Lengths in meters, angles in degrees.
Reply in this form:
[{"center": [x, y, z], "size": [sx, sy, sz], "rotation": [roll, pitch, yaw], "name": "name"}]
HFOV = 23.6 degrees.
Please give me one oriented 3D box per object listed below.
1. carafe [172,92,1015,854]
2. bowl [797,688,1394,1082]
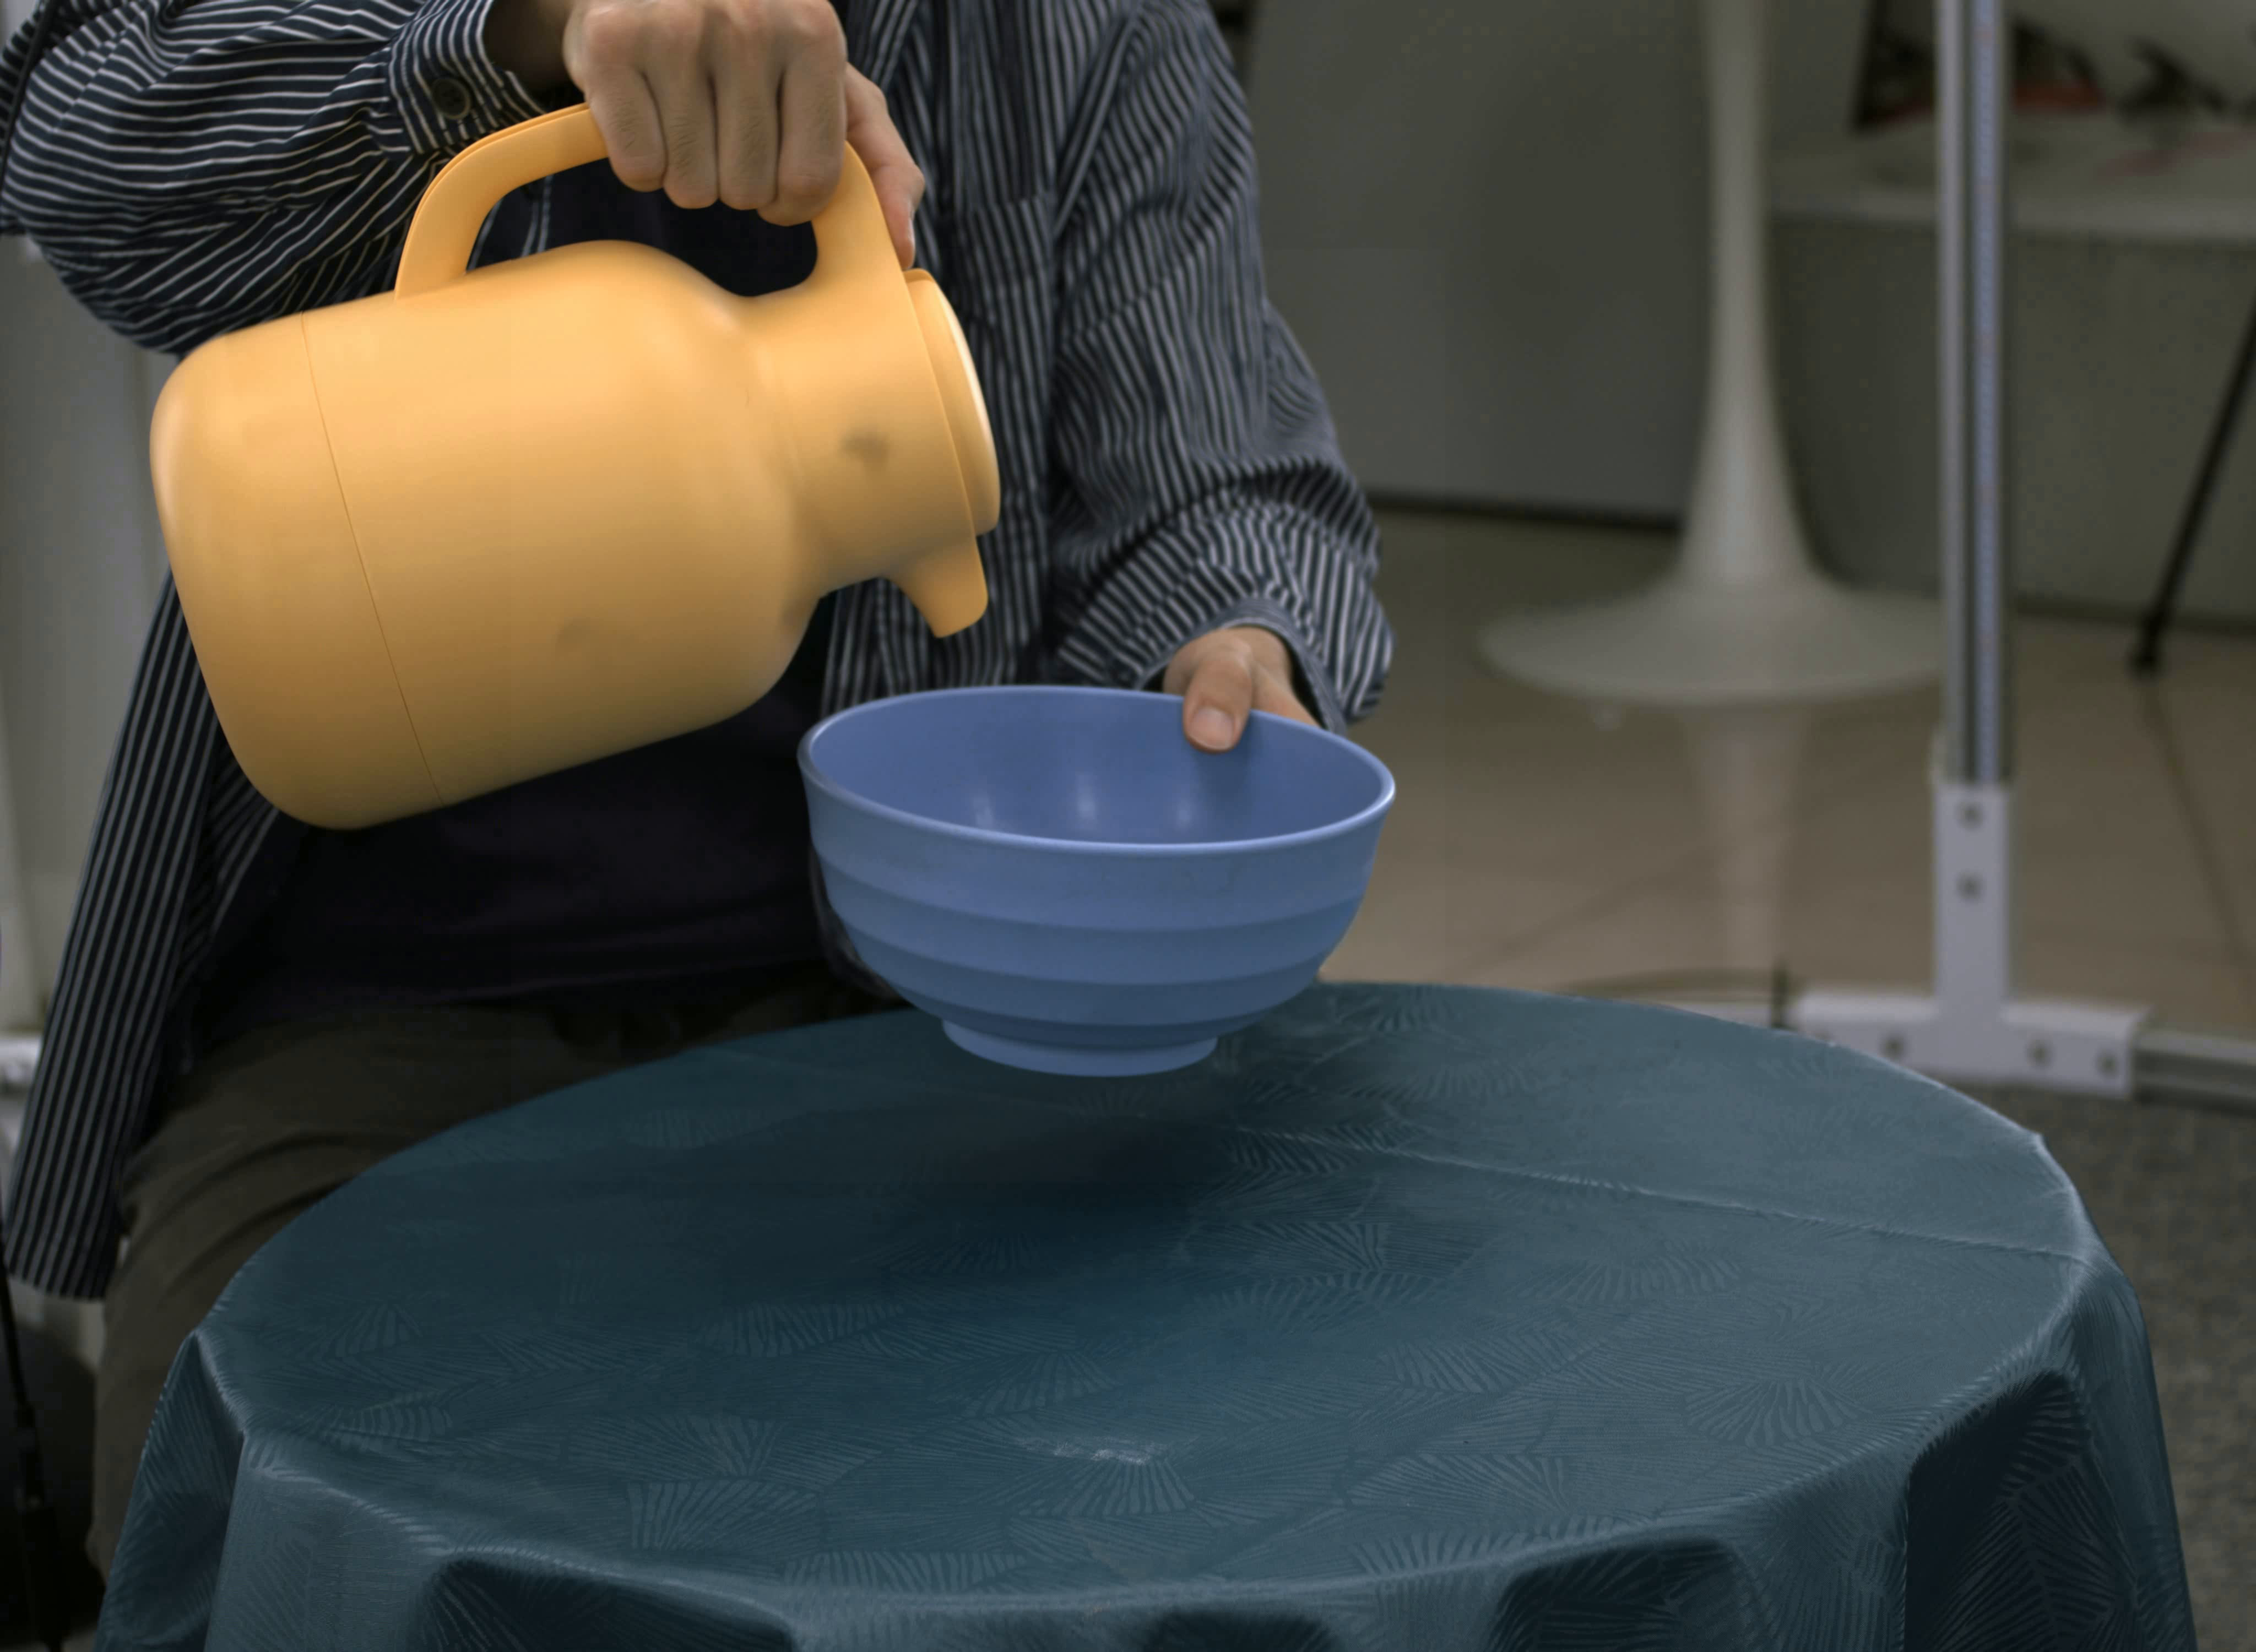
[{"center": [-0.171, -0.117, 1.728], "size": [0.257, 0.204, 0.164], "rotation": [-17, 13, -1], "name": "carafe"}, {"center": [-0.013, 0.024, 1.763], "size": [0.194, 0.096, 0.197], "rotation": [3, 15, -2], "name": "bowl"}]
